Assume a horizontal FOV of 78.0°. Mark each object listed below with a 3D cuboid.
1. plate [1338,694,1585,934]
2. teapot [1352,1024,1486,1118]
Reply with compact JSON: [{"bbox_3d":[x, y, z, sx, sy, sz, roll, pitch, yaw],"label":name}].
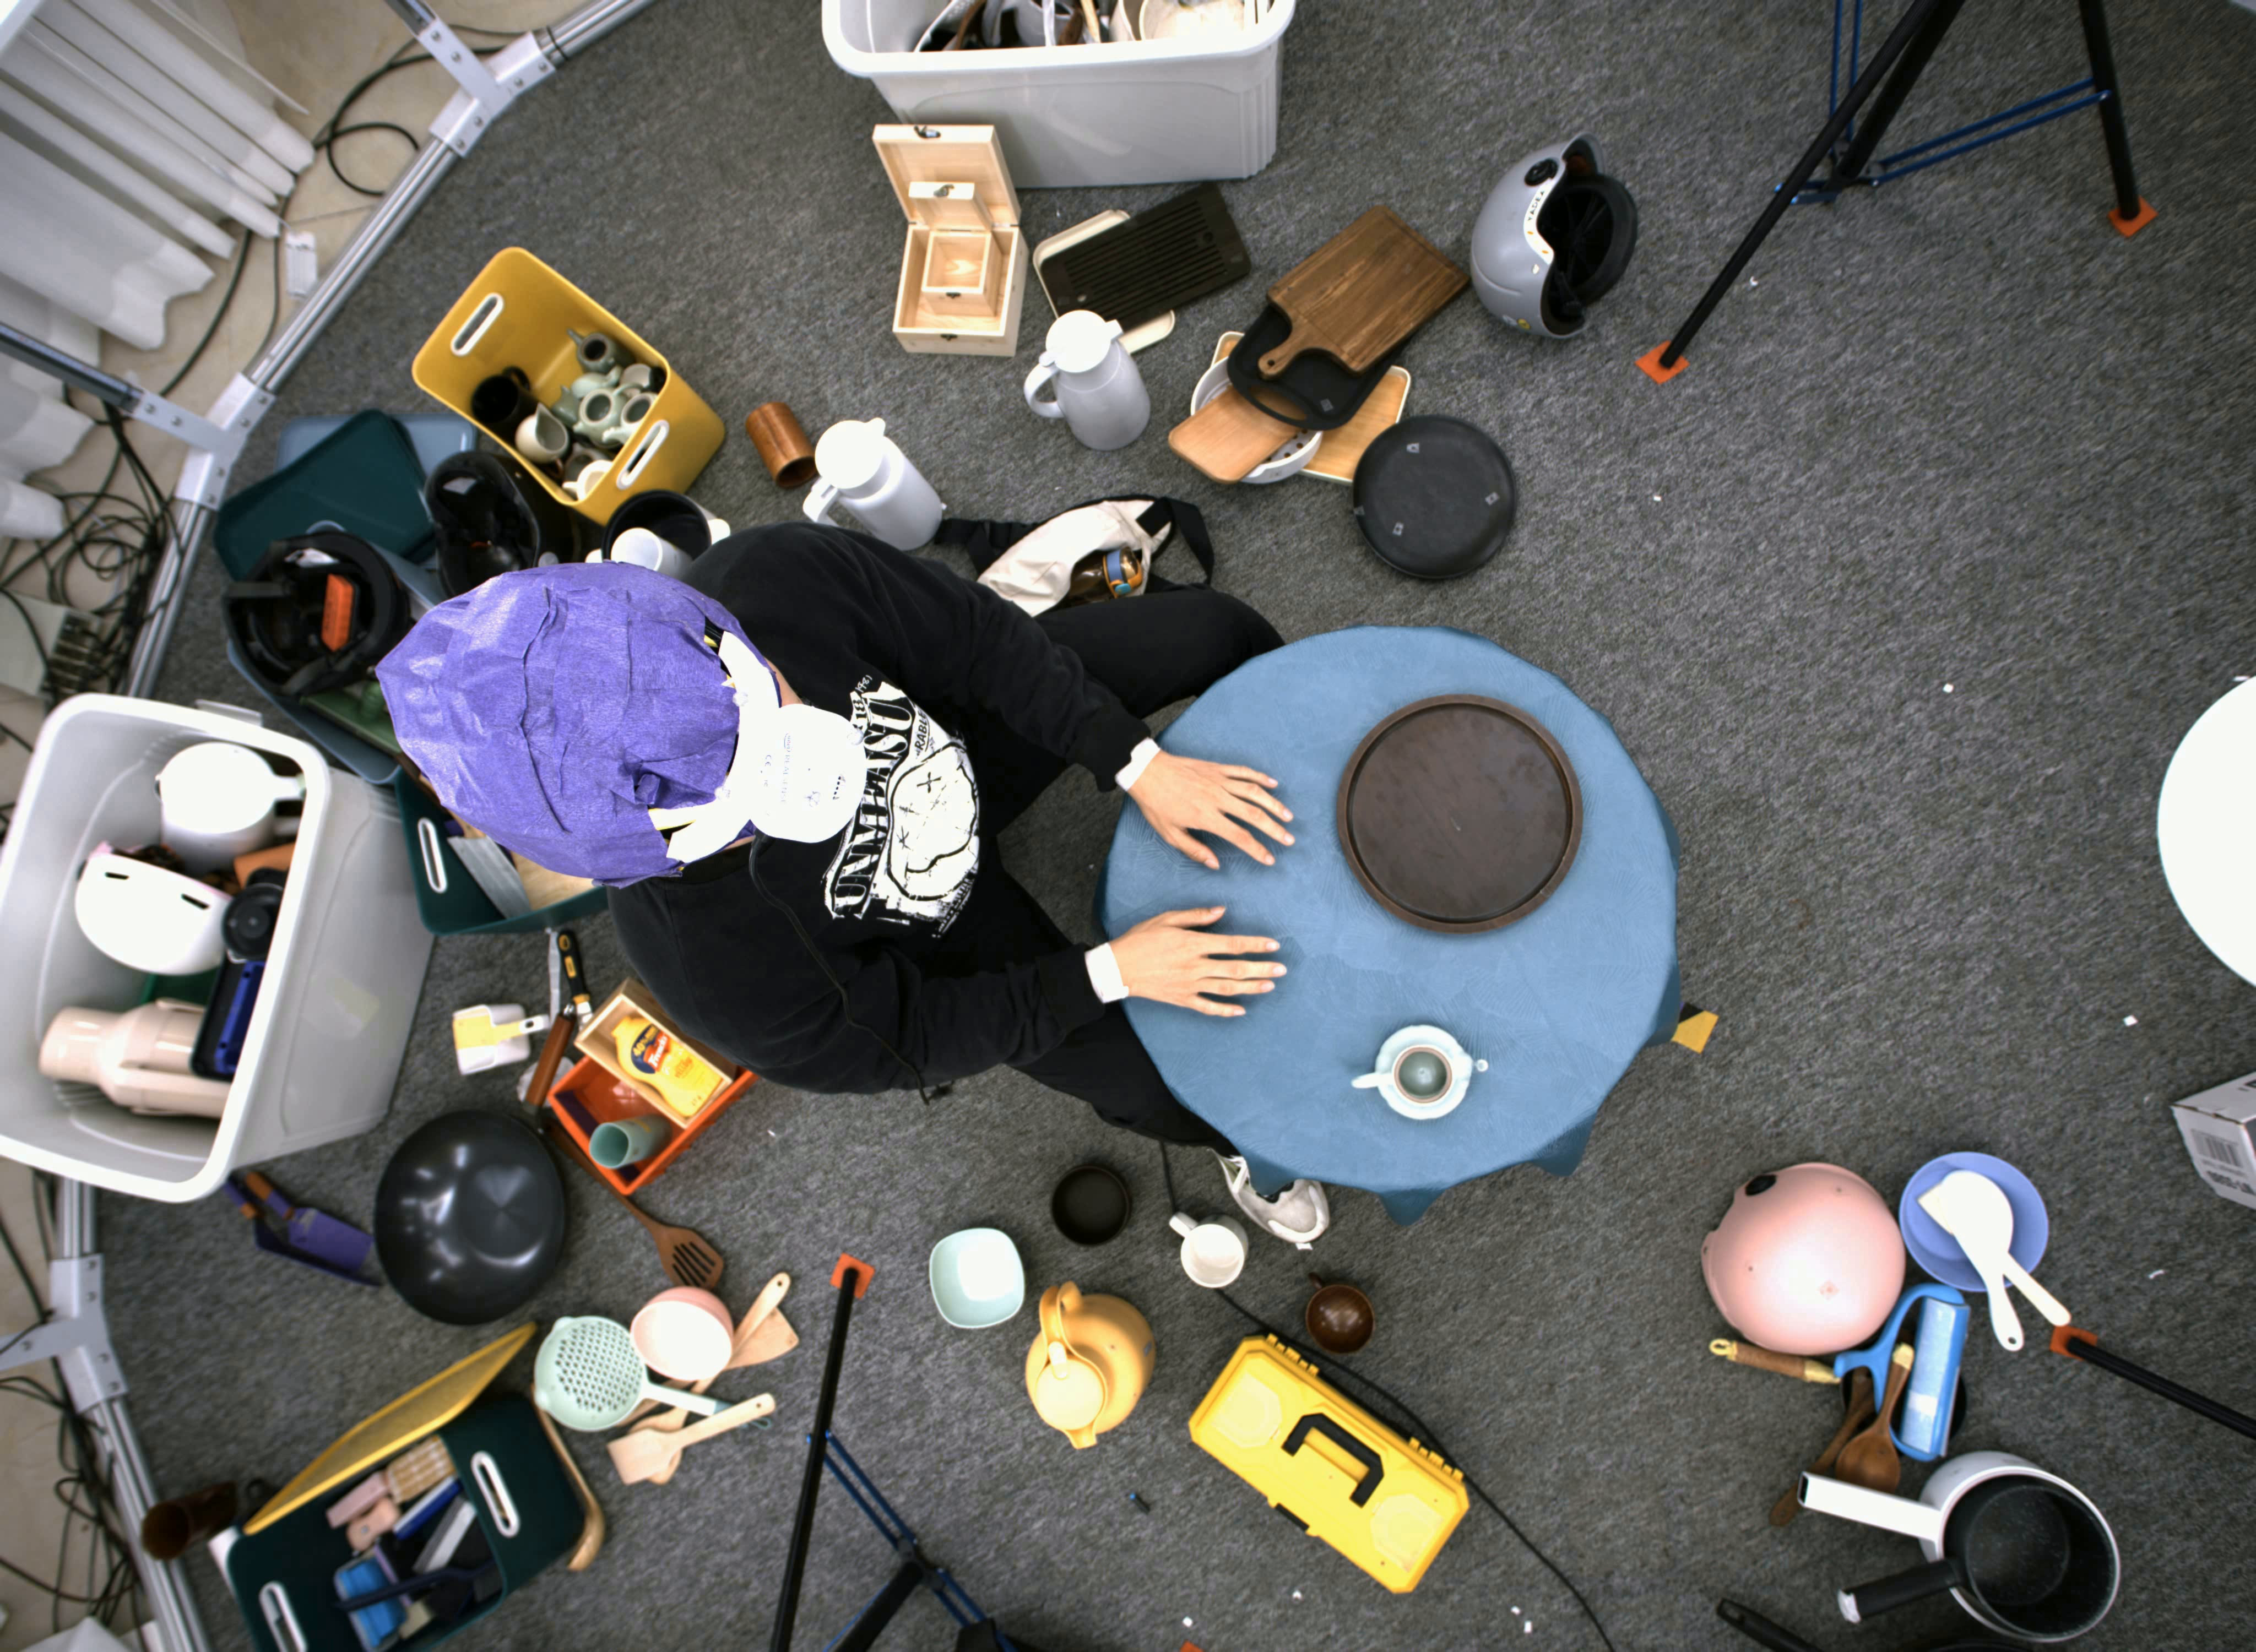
[{"bbox_3d":[0.346,-0.015,1.439,0.256,0.029,0.254,-1,88,10],"label":"plate"},{"bbox_3d":[0.297,0.251,1.417,0.137,0.061,0.096,-13,86,10],"label":"teapot"}]
